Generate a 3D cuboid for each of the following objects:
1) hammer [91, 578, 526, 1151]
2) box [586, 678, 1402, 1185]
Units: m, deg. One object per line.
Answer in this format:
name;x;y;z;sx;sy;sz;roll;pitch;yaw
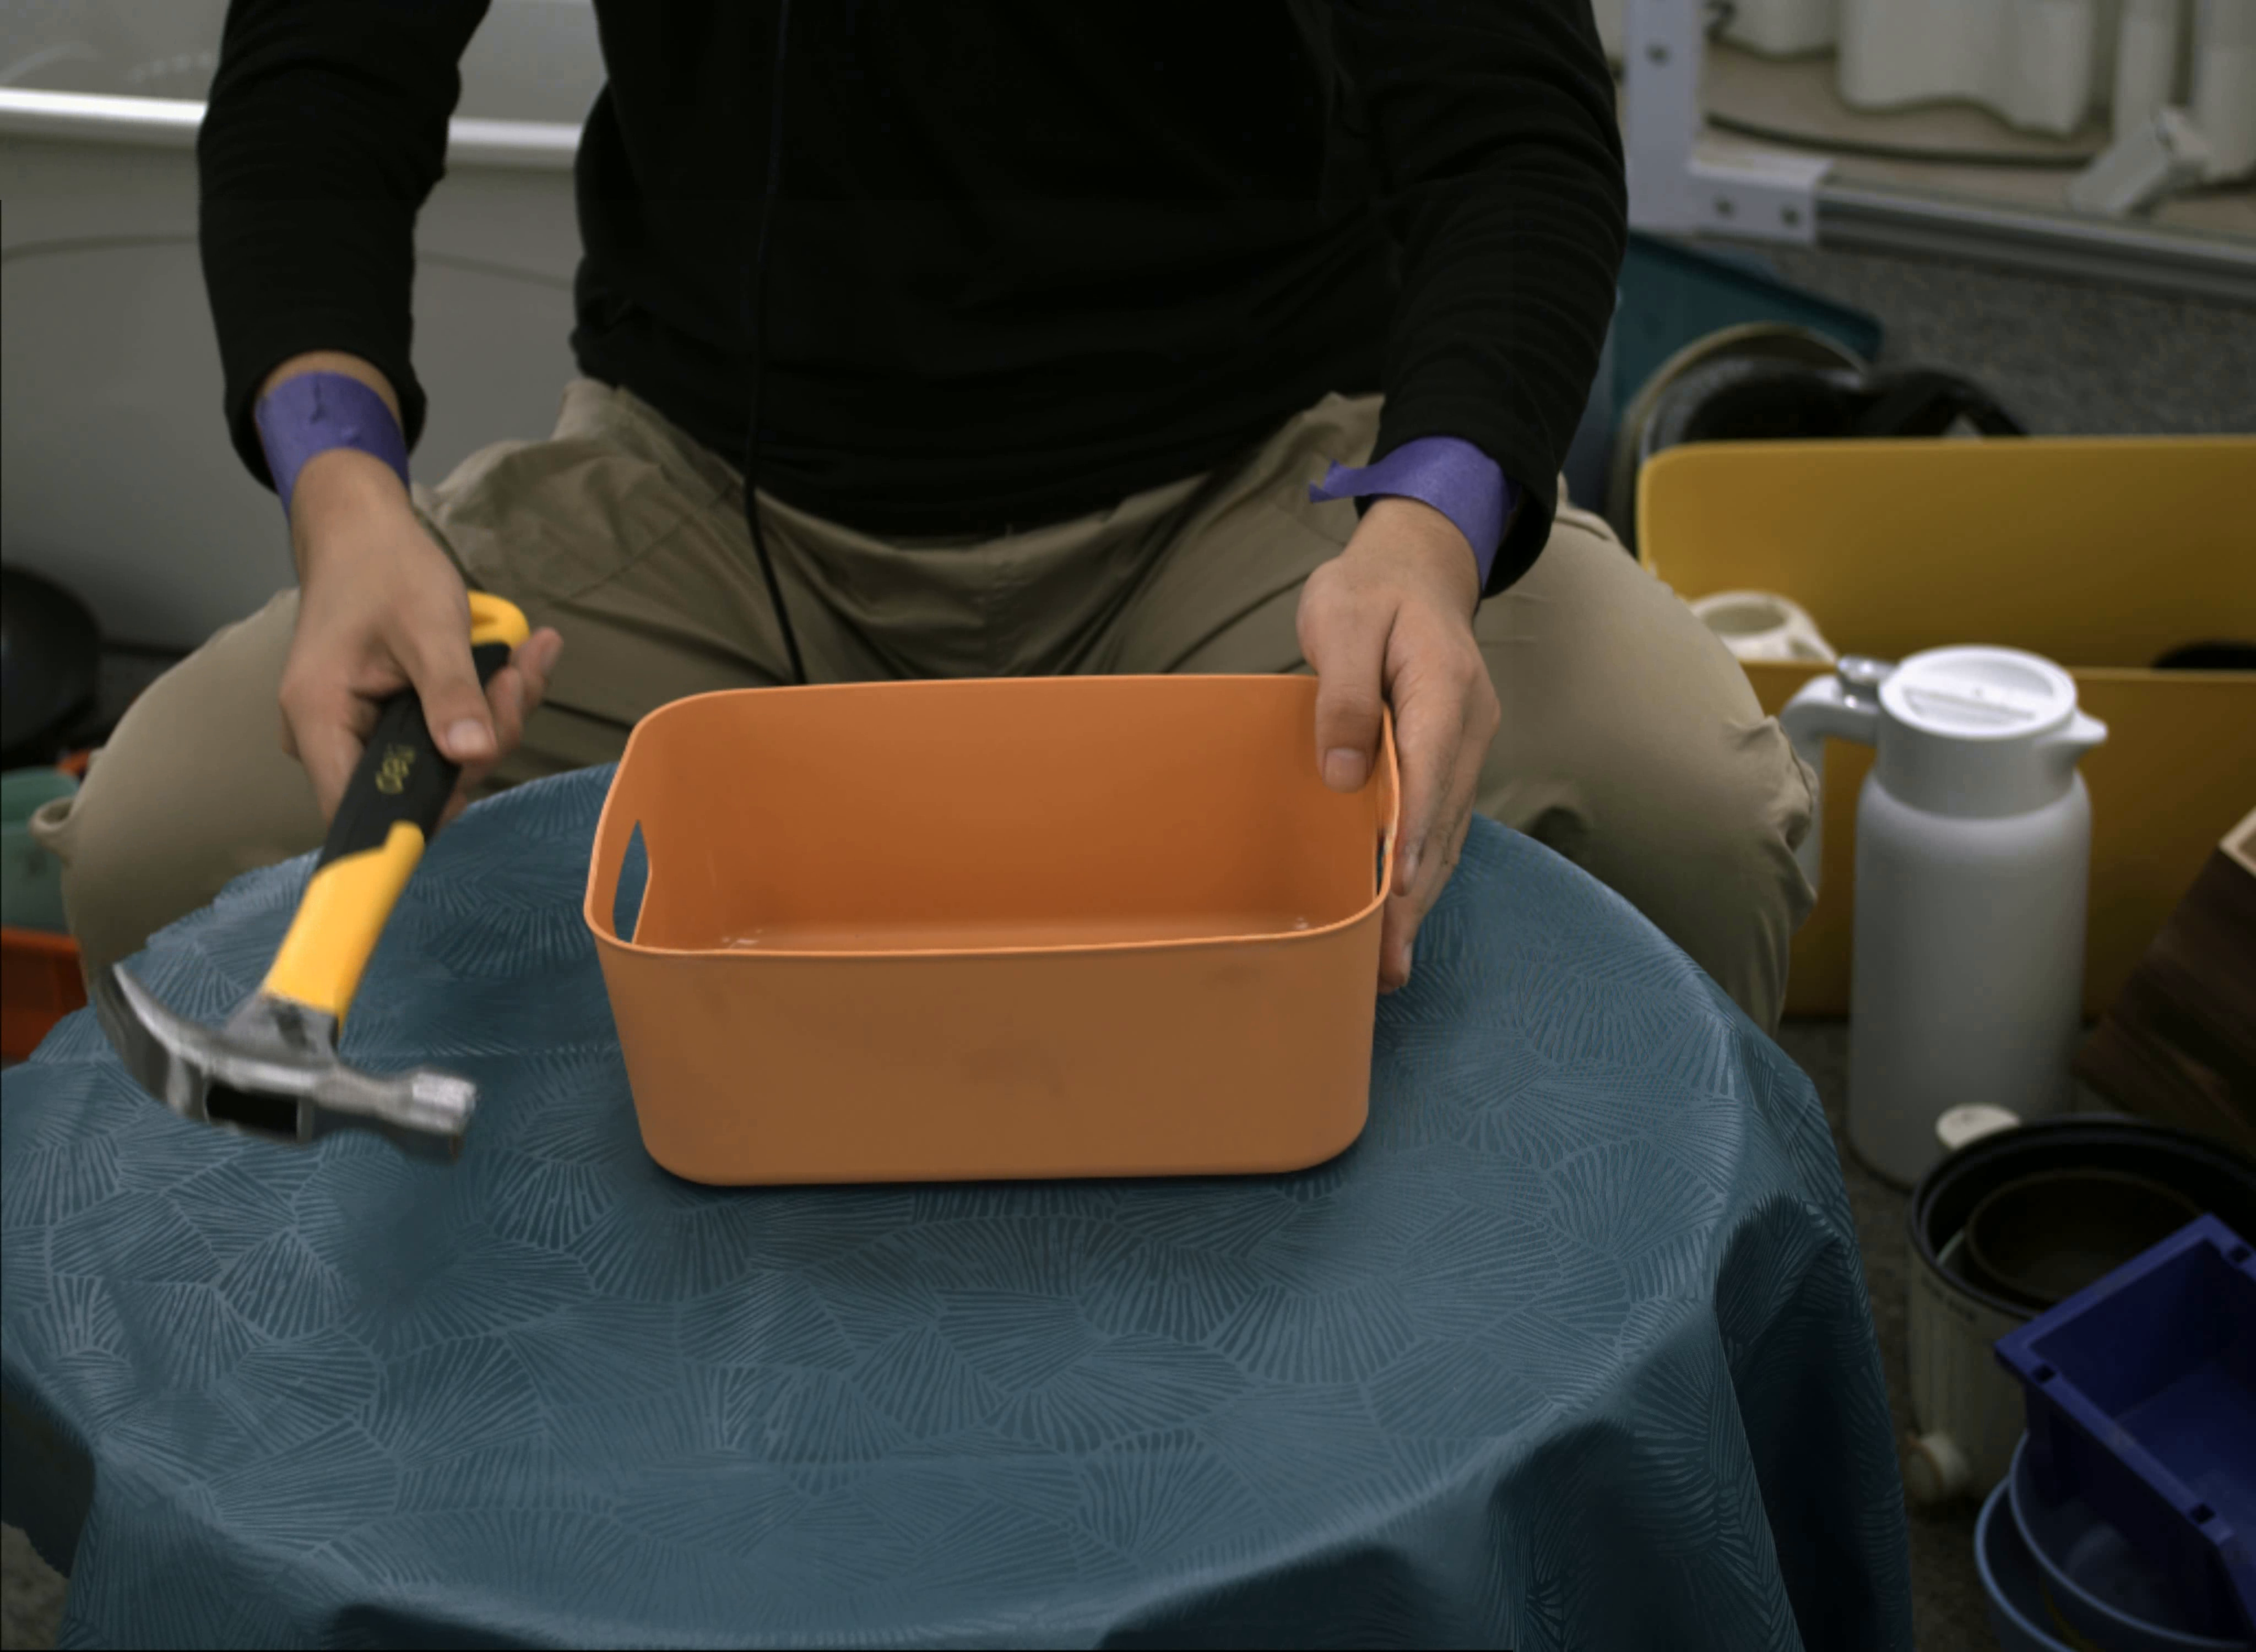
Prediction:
hammer;-0.257;0.001;1.912;0.131;0.032;0.344;11;29;1
box;-0.042;0.037;1.917;0.272;0.101;0.202;-1;26;2
